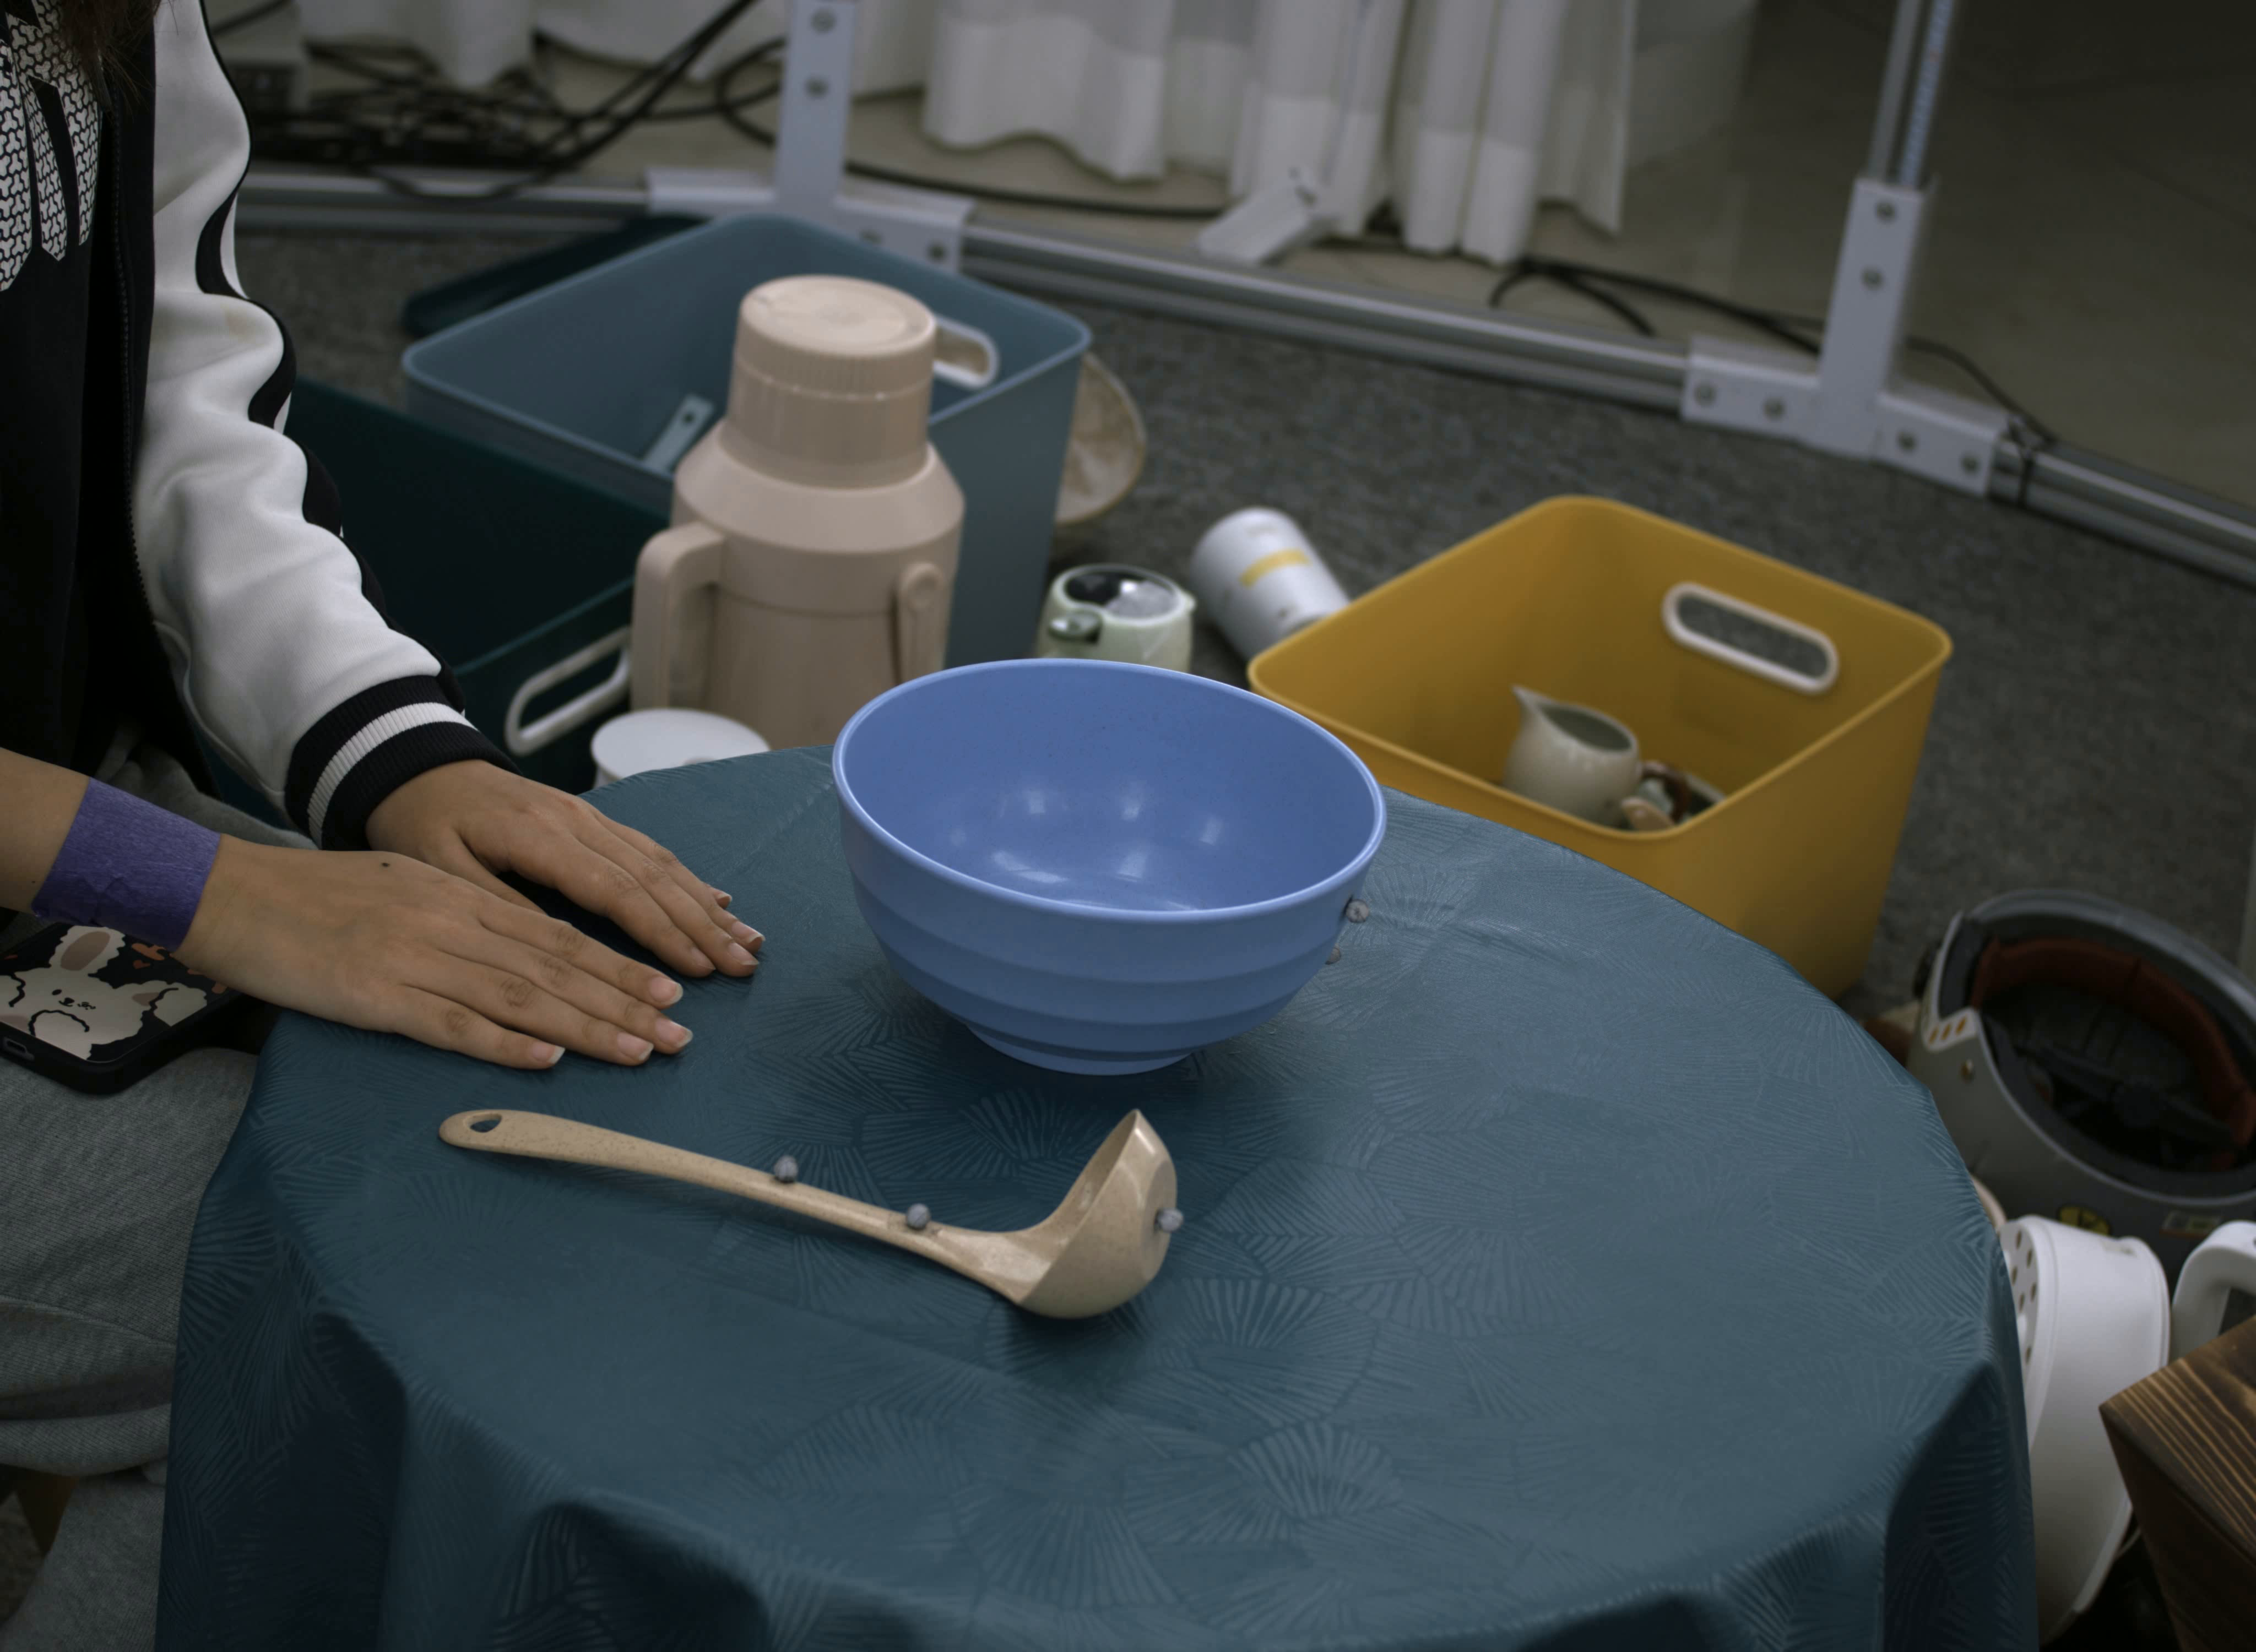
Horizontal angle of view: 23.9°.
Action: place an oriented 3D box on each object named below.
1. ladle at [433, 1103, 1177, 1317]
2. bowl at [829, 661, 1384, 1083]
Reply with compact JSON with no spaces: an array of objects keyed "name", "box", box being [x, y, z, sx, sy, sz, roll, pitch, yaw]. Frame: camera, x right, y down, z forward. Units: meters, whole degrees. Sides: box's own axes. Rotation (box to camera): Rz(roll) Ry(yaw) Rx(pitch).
[{"name":"ladle","box":[-0.110,0.103,1.738,0.254,0.072,0.072,12,39,12]},{"name":"bowl","box":[-0.011,0.028,1.890,0.196,0.095,0.198,4,28,-3]}]
